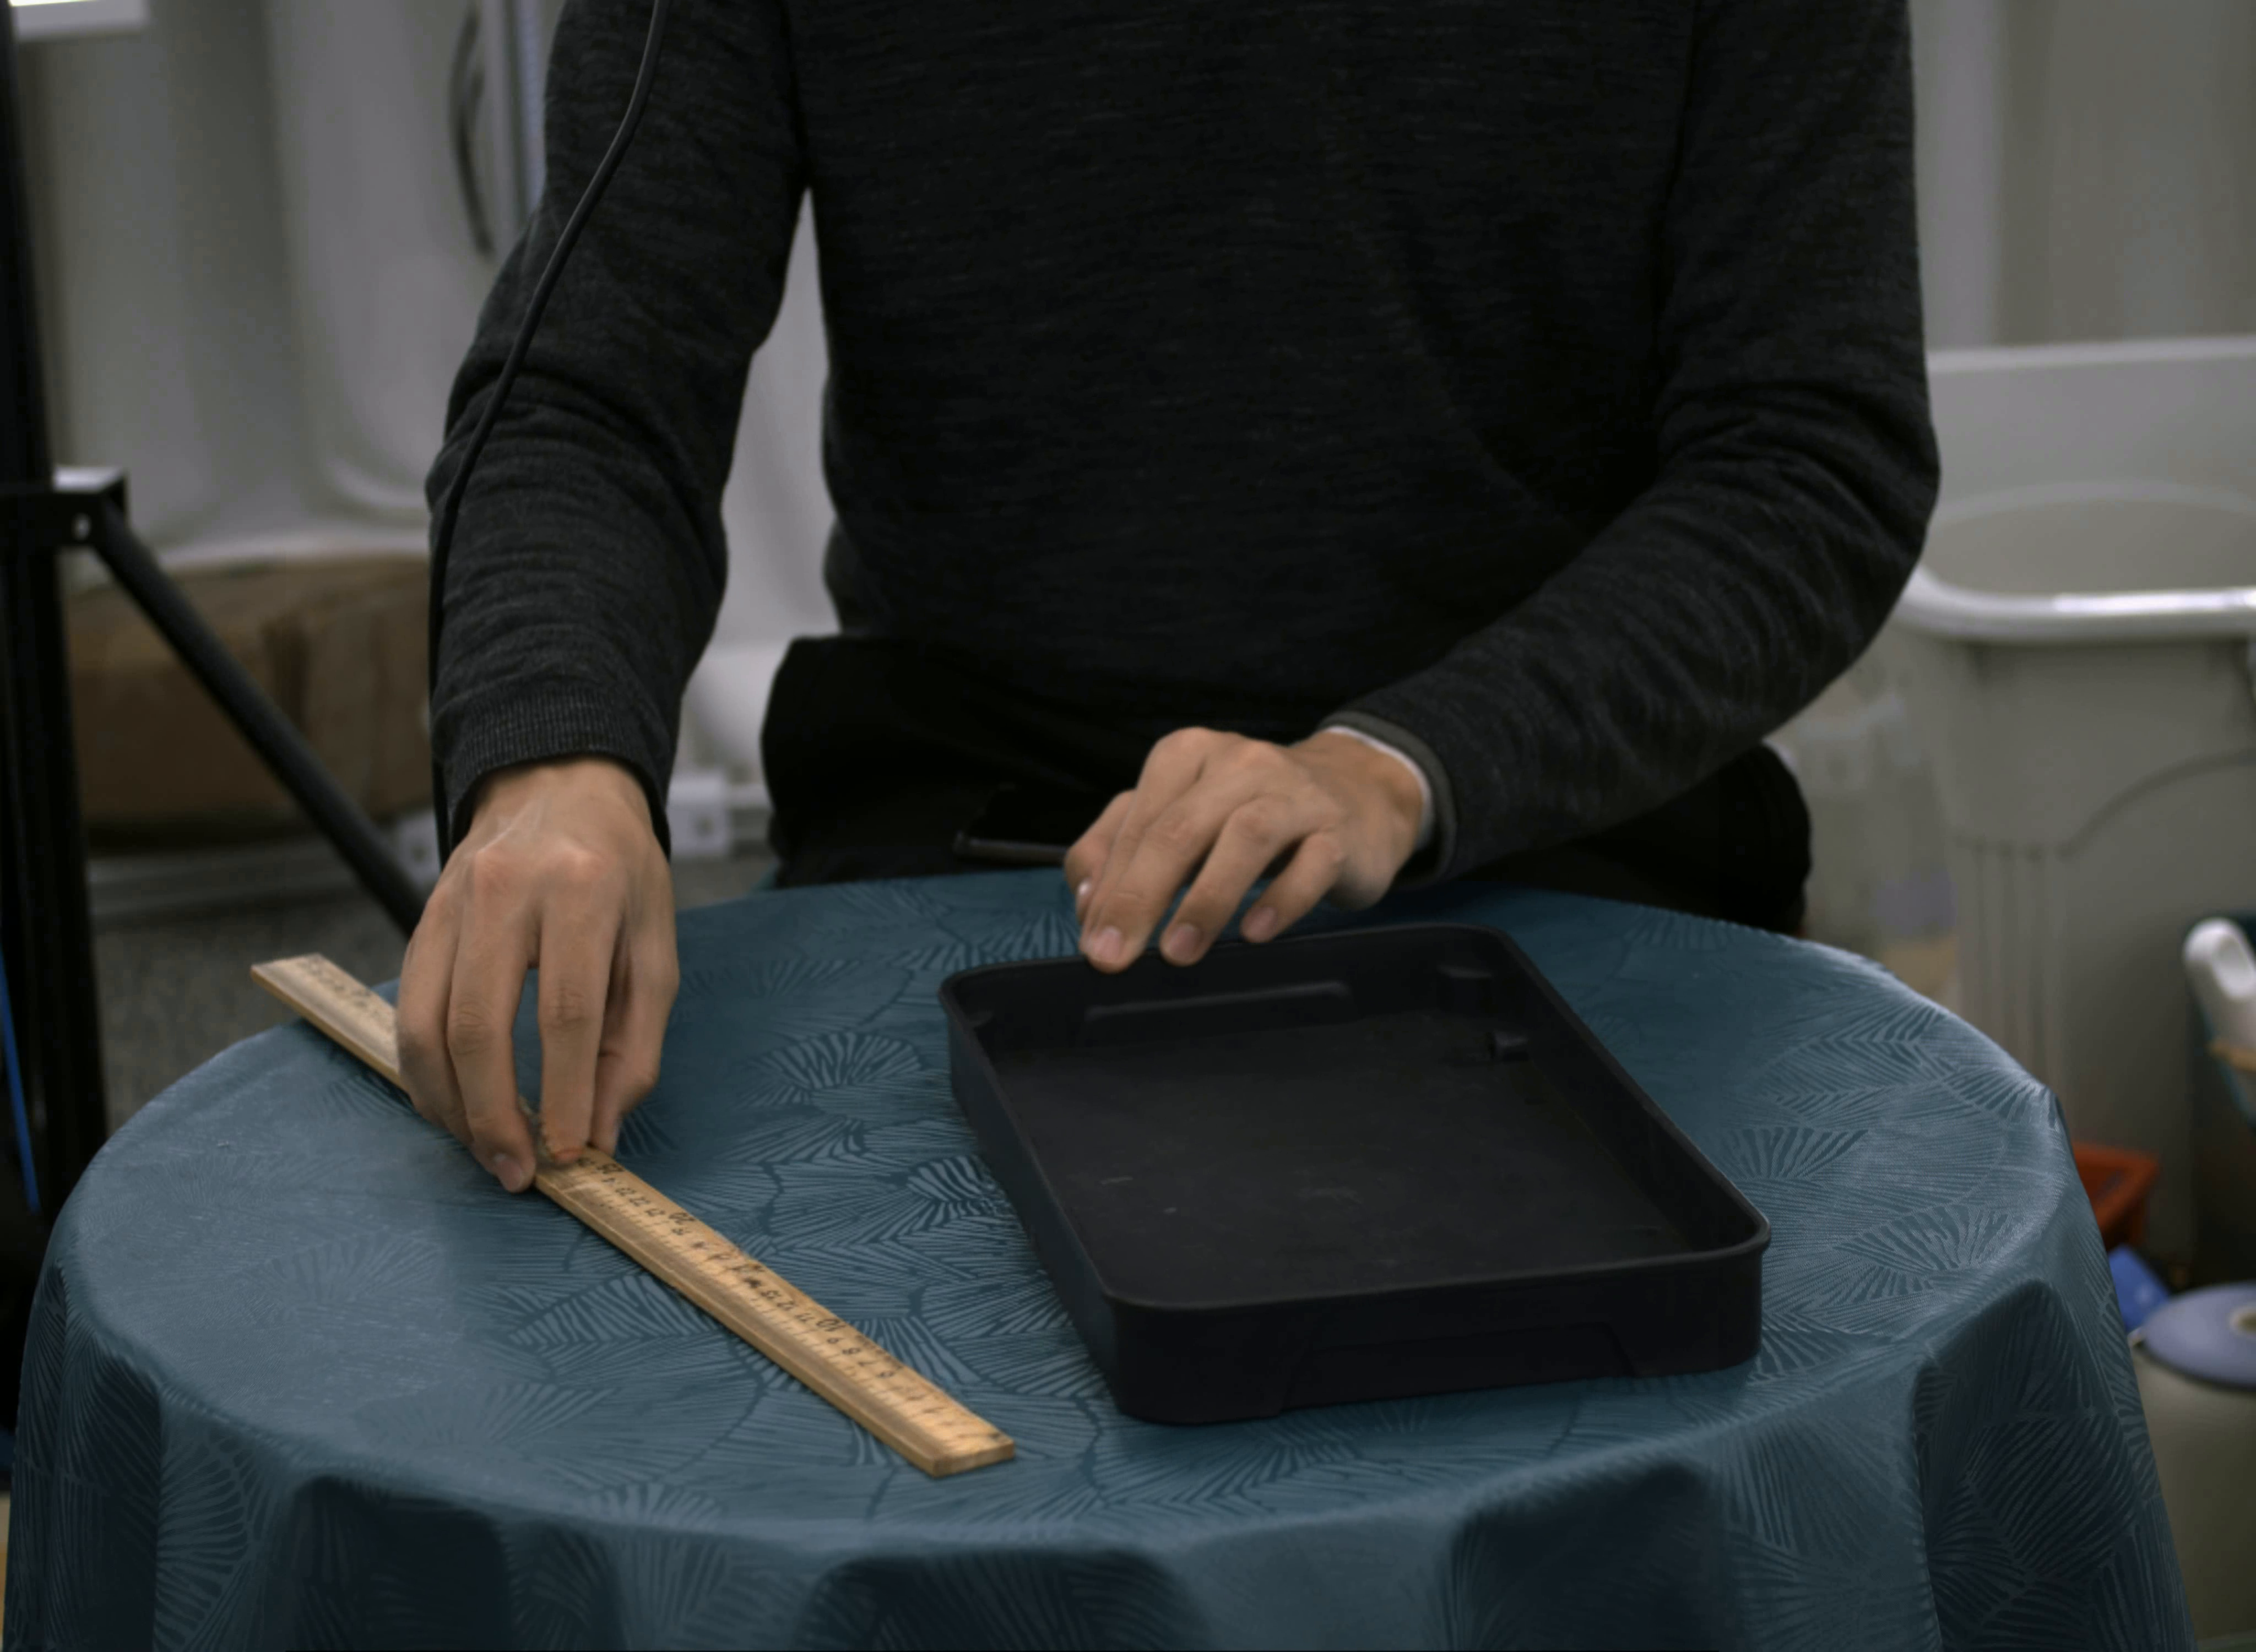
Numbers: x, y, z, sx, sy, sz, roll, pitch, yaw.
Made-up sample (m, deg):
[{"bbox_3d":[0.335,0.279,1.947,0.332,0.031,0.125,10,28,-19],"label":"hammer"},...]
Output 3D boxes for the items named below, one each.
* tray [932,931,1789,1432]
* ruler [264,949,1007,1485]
[{"bbox_3d":[0.058,0.096,1.526,0.182,0.037,0.322,-5,15,-10],"label":"tray"},{"bbox_3d":[-0.158,0.104,1.575,0.026,0.006,0.511,-17,21,-24],"label":"ruler"}]
